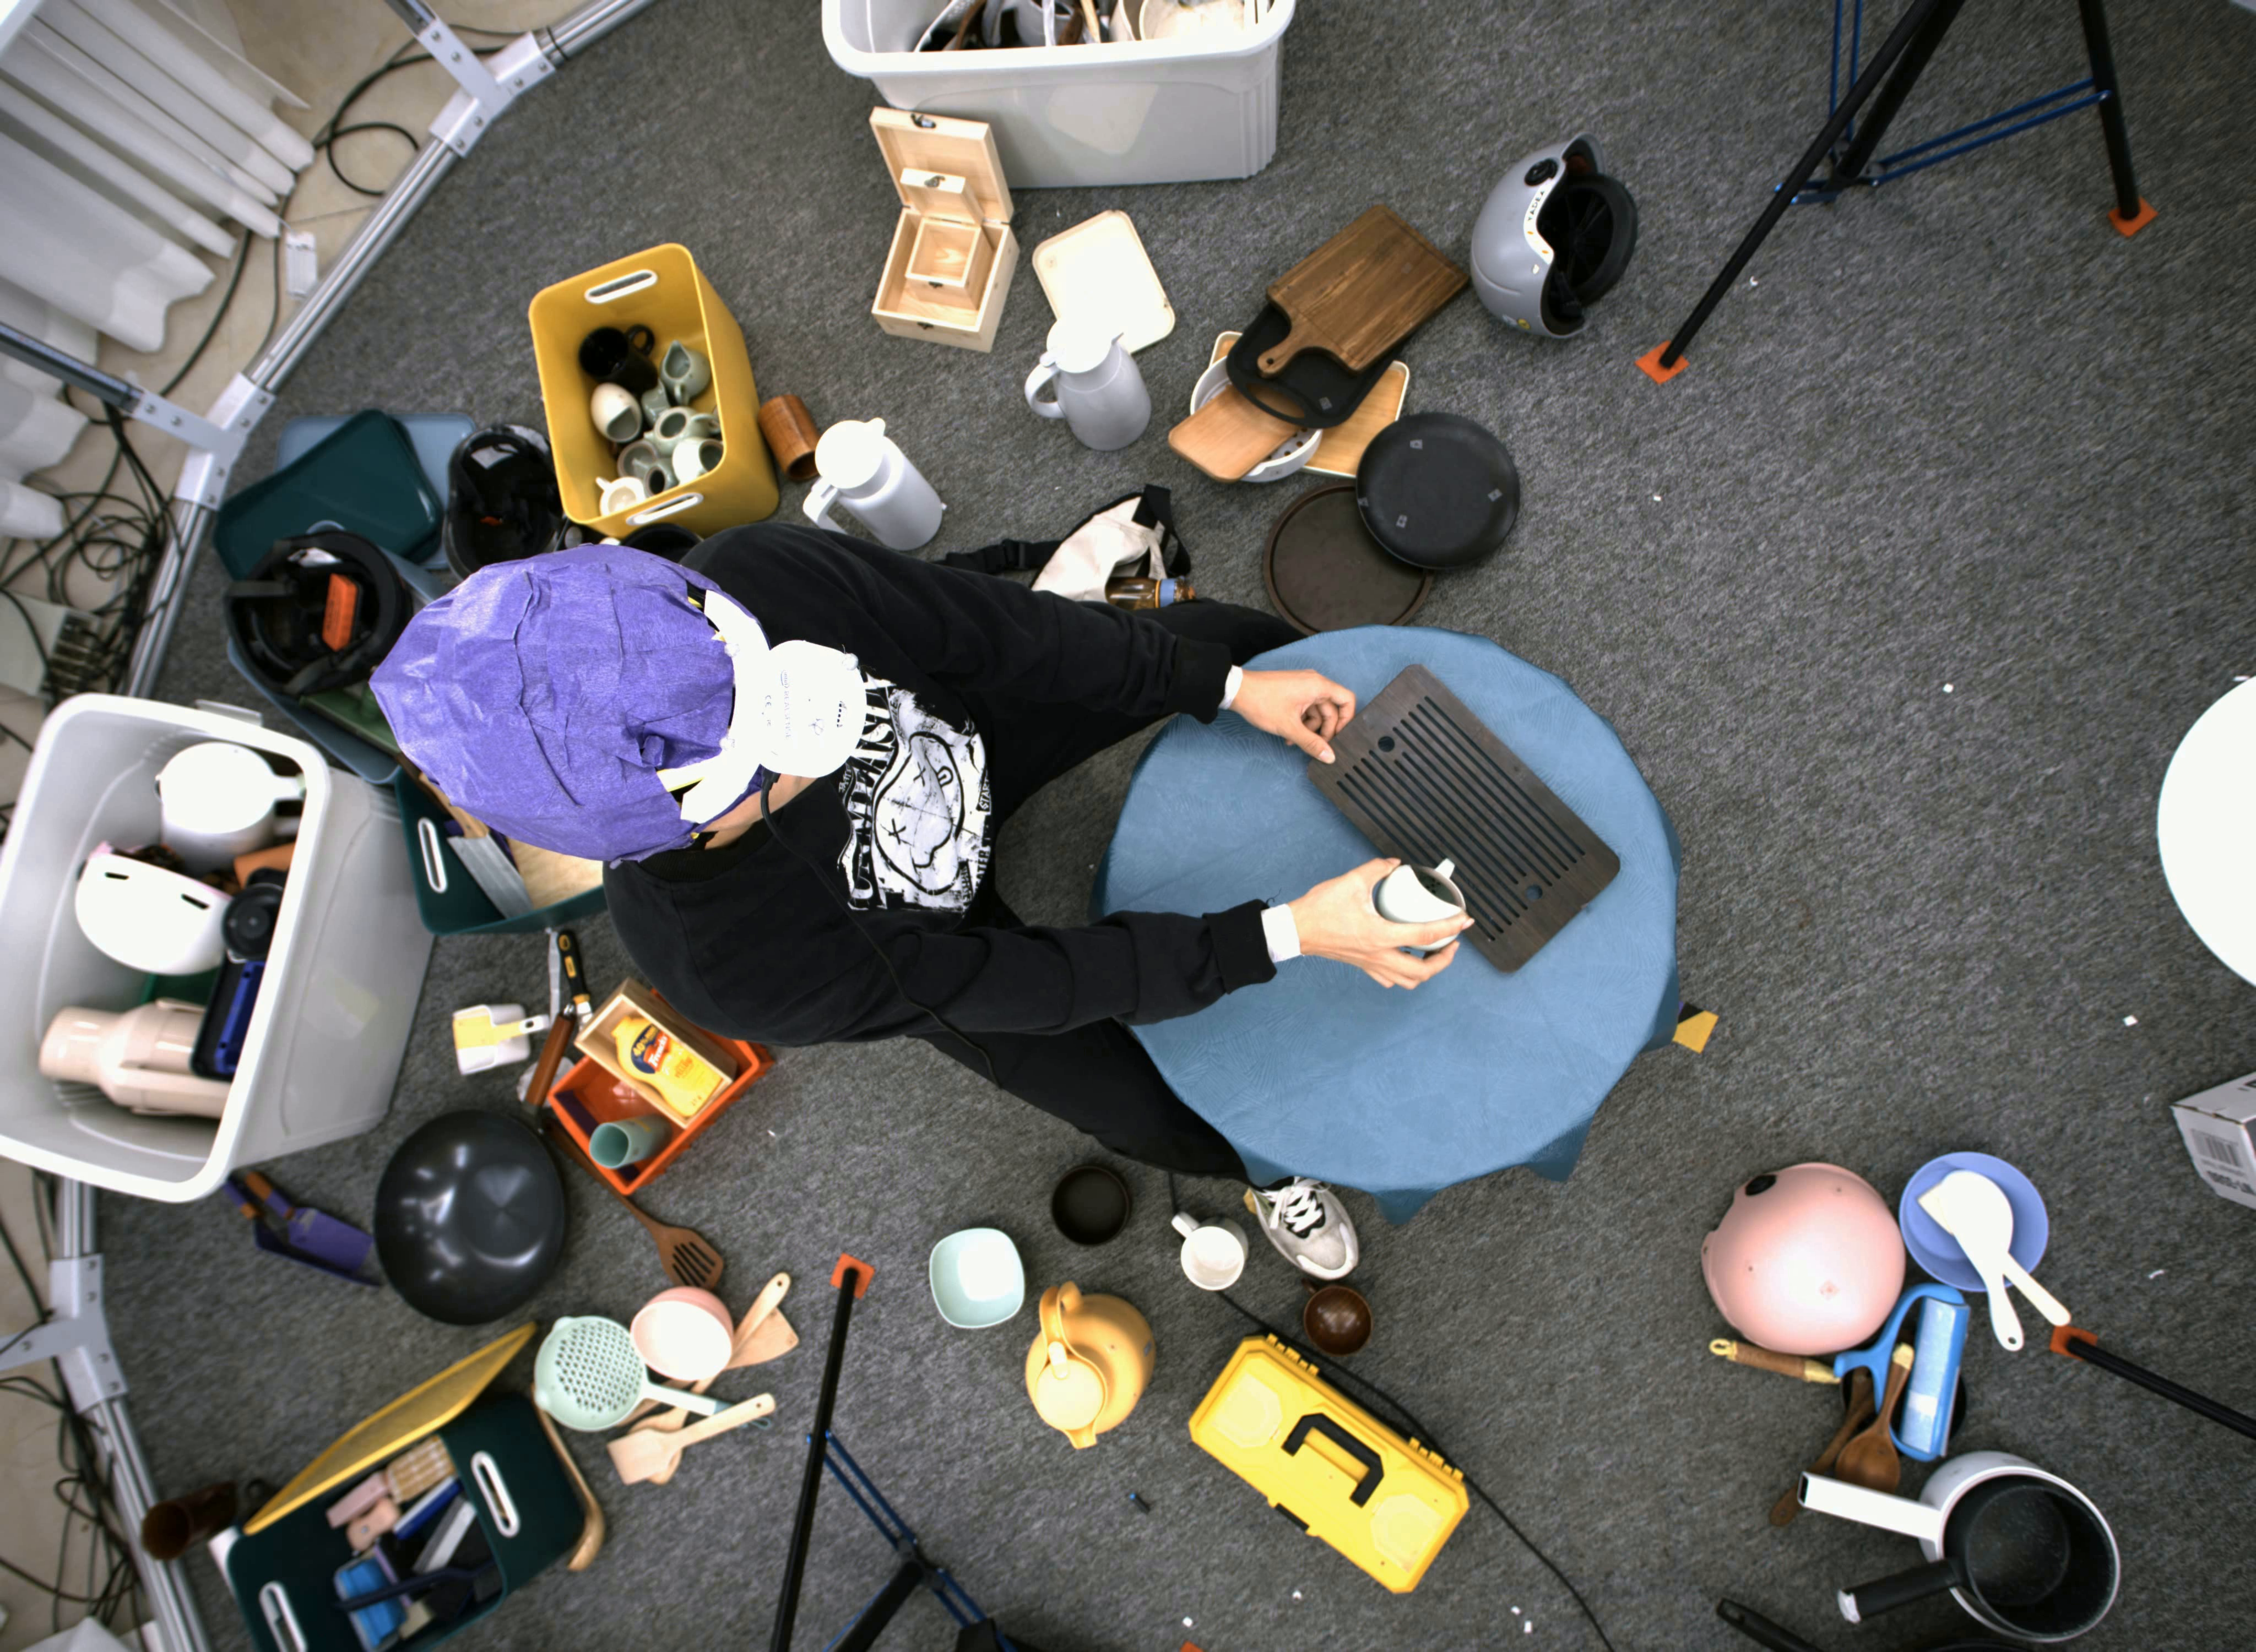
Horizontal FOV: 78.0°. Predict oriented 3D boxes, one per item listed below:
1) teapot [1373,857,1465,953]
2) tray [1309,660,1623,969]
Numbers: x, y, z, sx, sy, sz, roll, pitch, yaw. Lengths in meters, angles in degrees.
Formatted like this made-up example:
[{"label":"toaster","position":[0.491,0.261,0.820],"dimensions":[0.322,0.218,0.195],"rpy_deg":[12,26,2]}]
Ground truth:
[{"label":"teapot","position":[0.278,0.077,1.318],"dimensions":[0.088,0.141,0.076],"rpy_deg":[37,118,10]},{"label":"tray","position":[0.349,-0.015,1.432],"dimensions":[0.171,0.018,0.305],"rpy_deg":[-44,84,6]}]
